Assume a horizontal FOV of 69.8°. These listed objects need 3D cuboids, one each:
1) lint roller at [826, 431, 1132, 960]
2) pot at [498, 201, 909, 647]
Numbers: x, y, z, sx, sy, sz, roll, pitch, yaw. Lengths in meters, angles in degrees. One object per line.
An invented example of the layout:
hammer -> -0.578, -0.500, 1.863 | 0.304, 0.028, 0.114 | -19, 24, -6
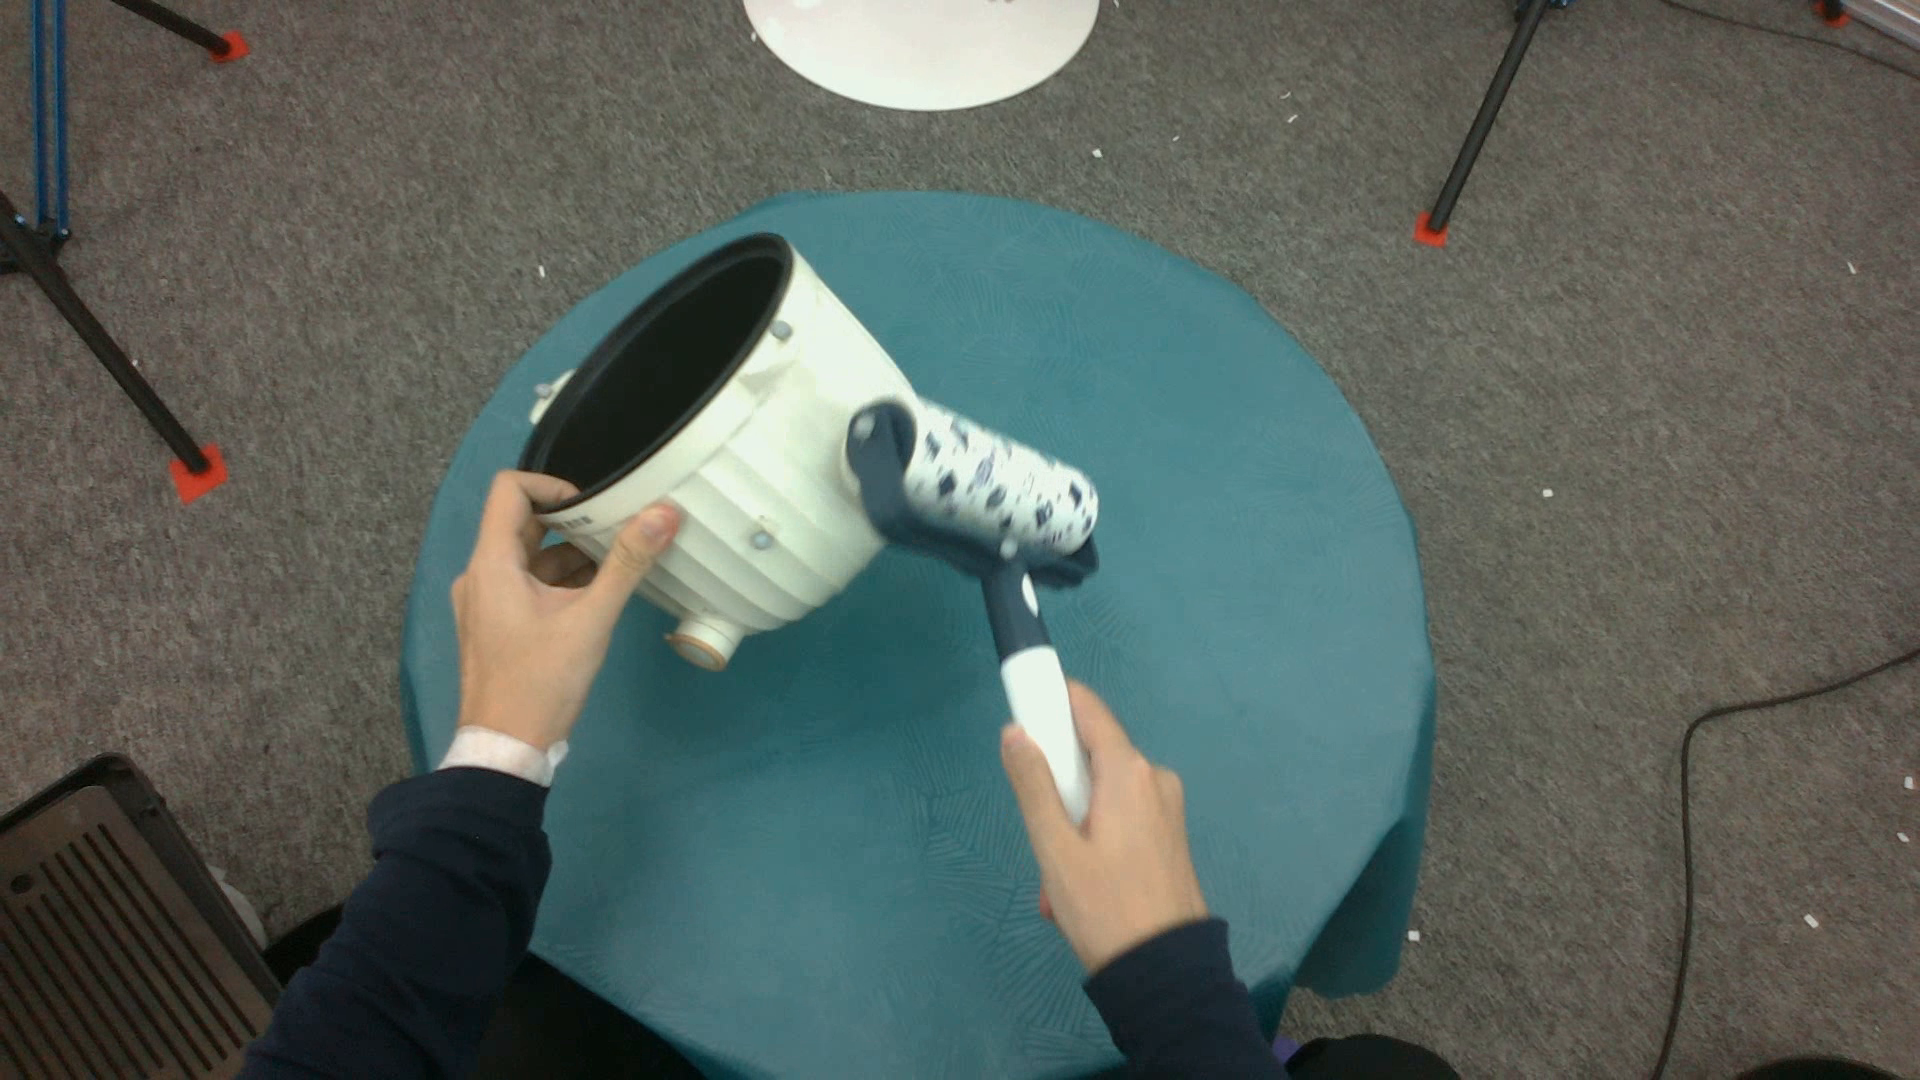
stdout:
lint roller -> 0.035, 0.070, 0.646 | 0.050, 0.176, 0.247 | -34, 64, 28
pot -> -0.124, -0.055, 0.705 | 0.142, 0.239, 0.191 | 45, 57, -30
